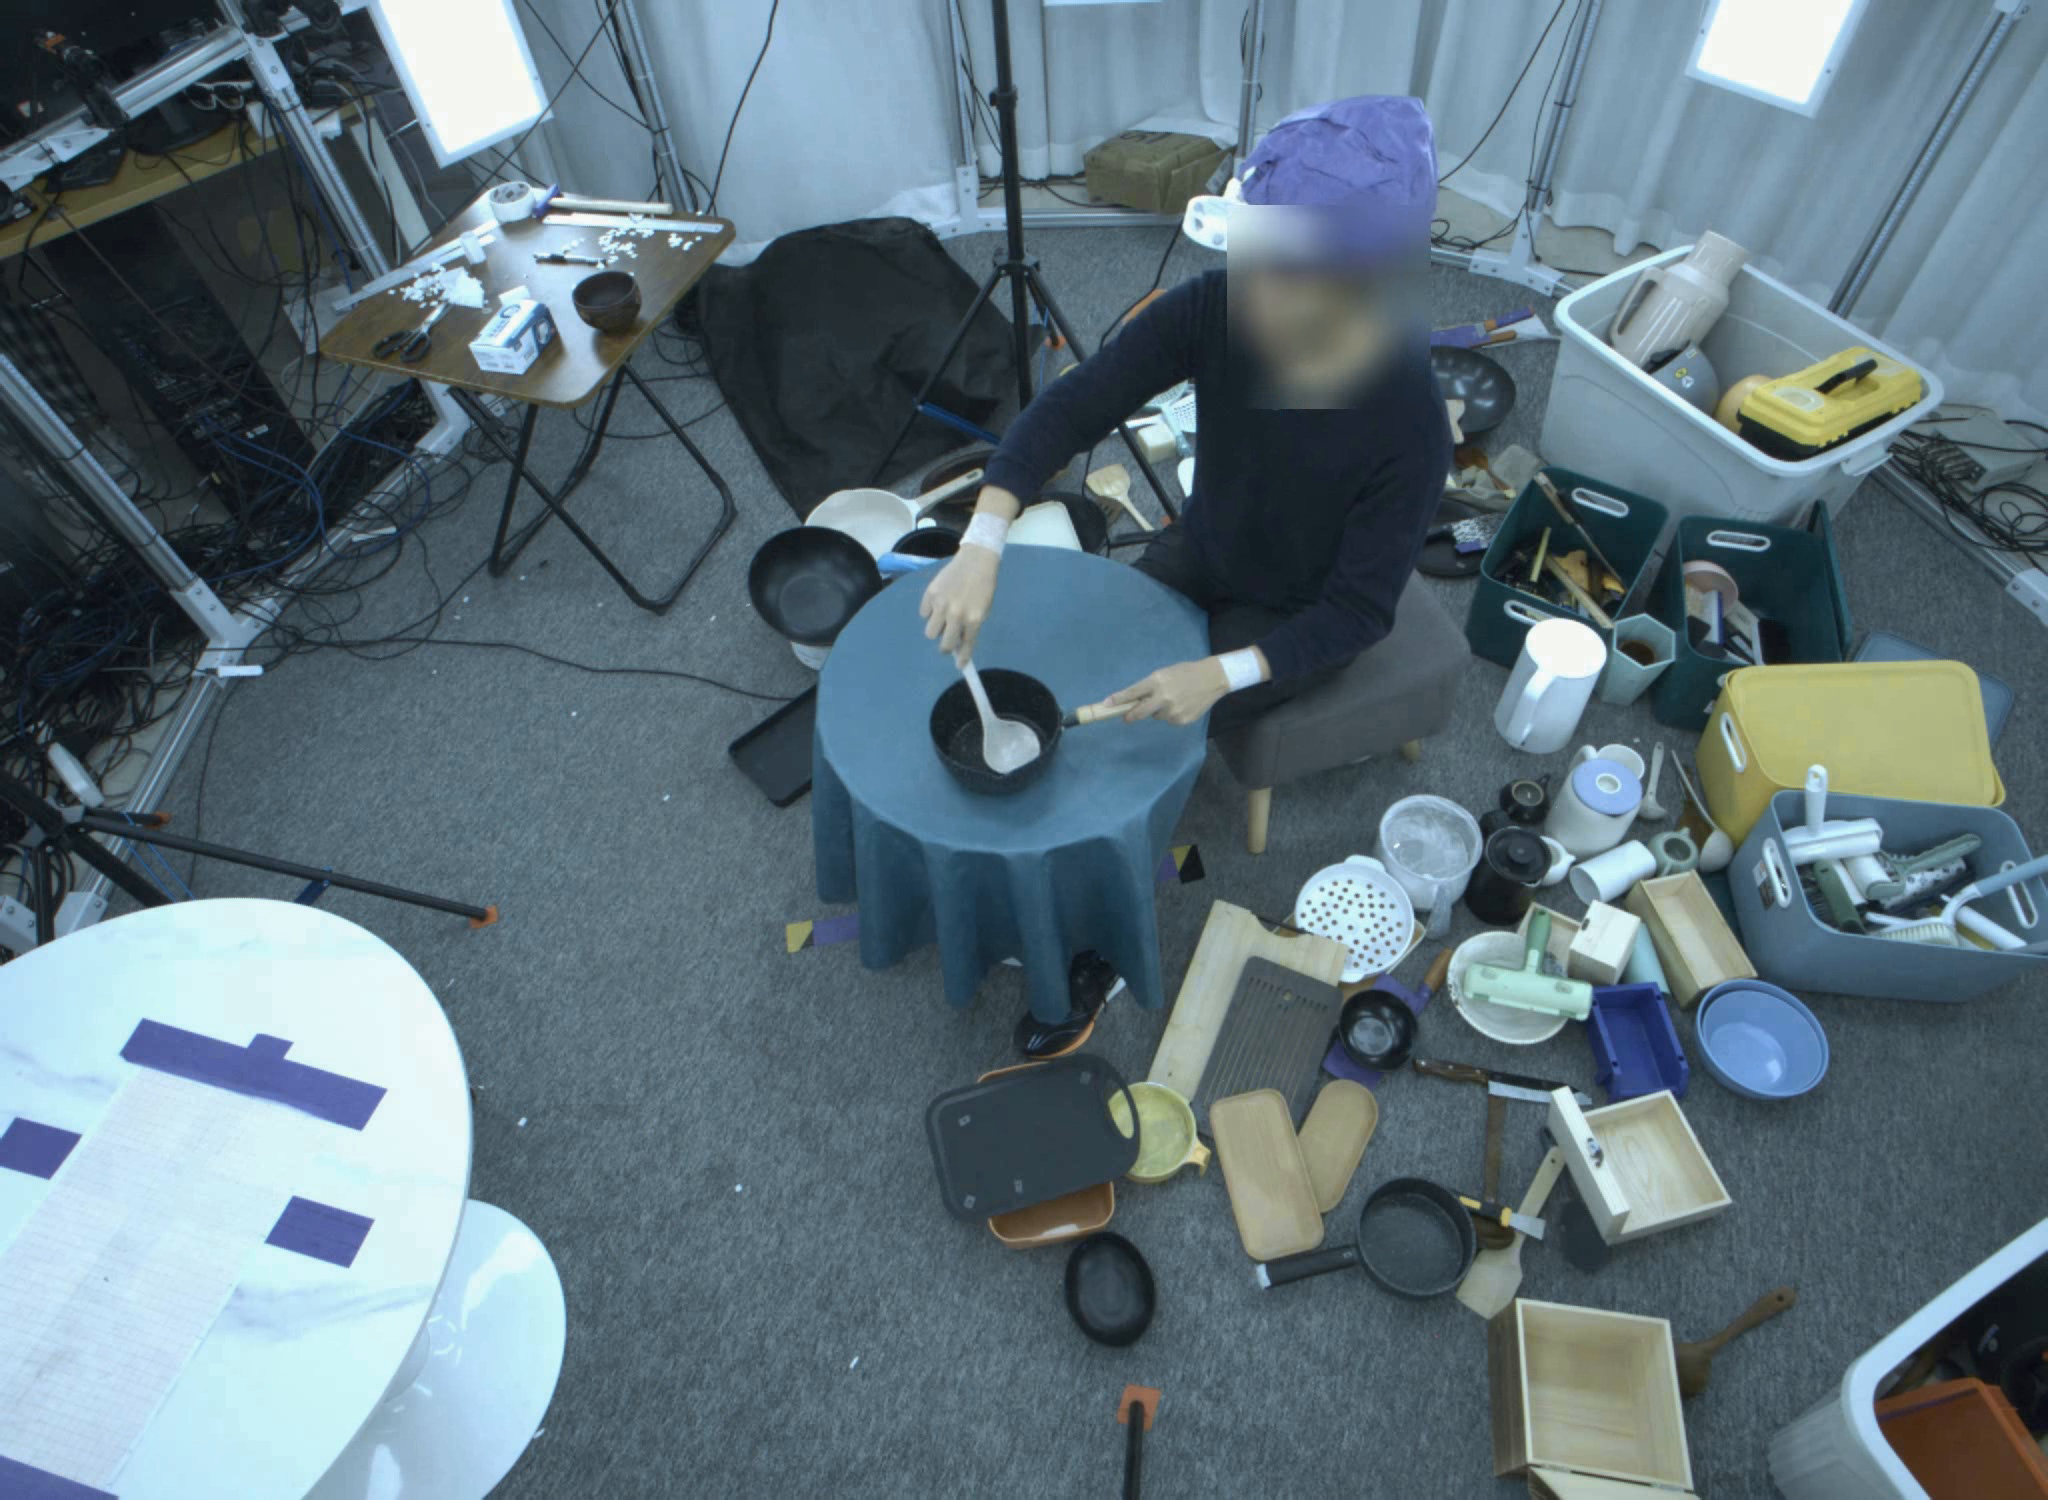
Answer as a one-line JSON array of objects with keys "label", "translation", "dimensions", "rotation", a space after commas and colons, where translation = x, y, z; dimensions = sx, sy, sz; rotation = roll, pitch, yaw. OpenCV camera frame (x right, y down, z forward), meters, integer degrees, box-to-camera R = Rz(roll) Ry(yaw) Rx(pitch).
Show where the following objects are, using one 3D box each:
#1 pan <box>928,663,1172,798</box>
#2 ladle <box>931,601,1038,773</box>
[{"label": "pan", "translation": [0.039, -0.035, 1.744], "dimensions": [0.343, 0.109, 0.204], "rotation": [-8, 54, -1]}, {"label": "ladle", "translation": [-0.054, -0.083, 1.661], "dimensions": [0.068, 0.279, 0.090], "rotation": [18, 52, 39]}]
